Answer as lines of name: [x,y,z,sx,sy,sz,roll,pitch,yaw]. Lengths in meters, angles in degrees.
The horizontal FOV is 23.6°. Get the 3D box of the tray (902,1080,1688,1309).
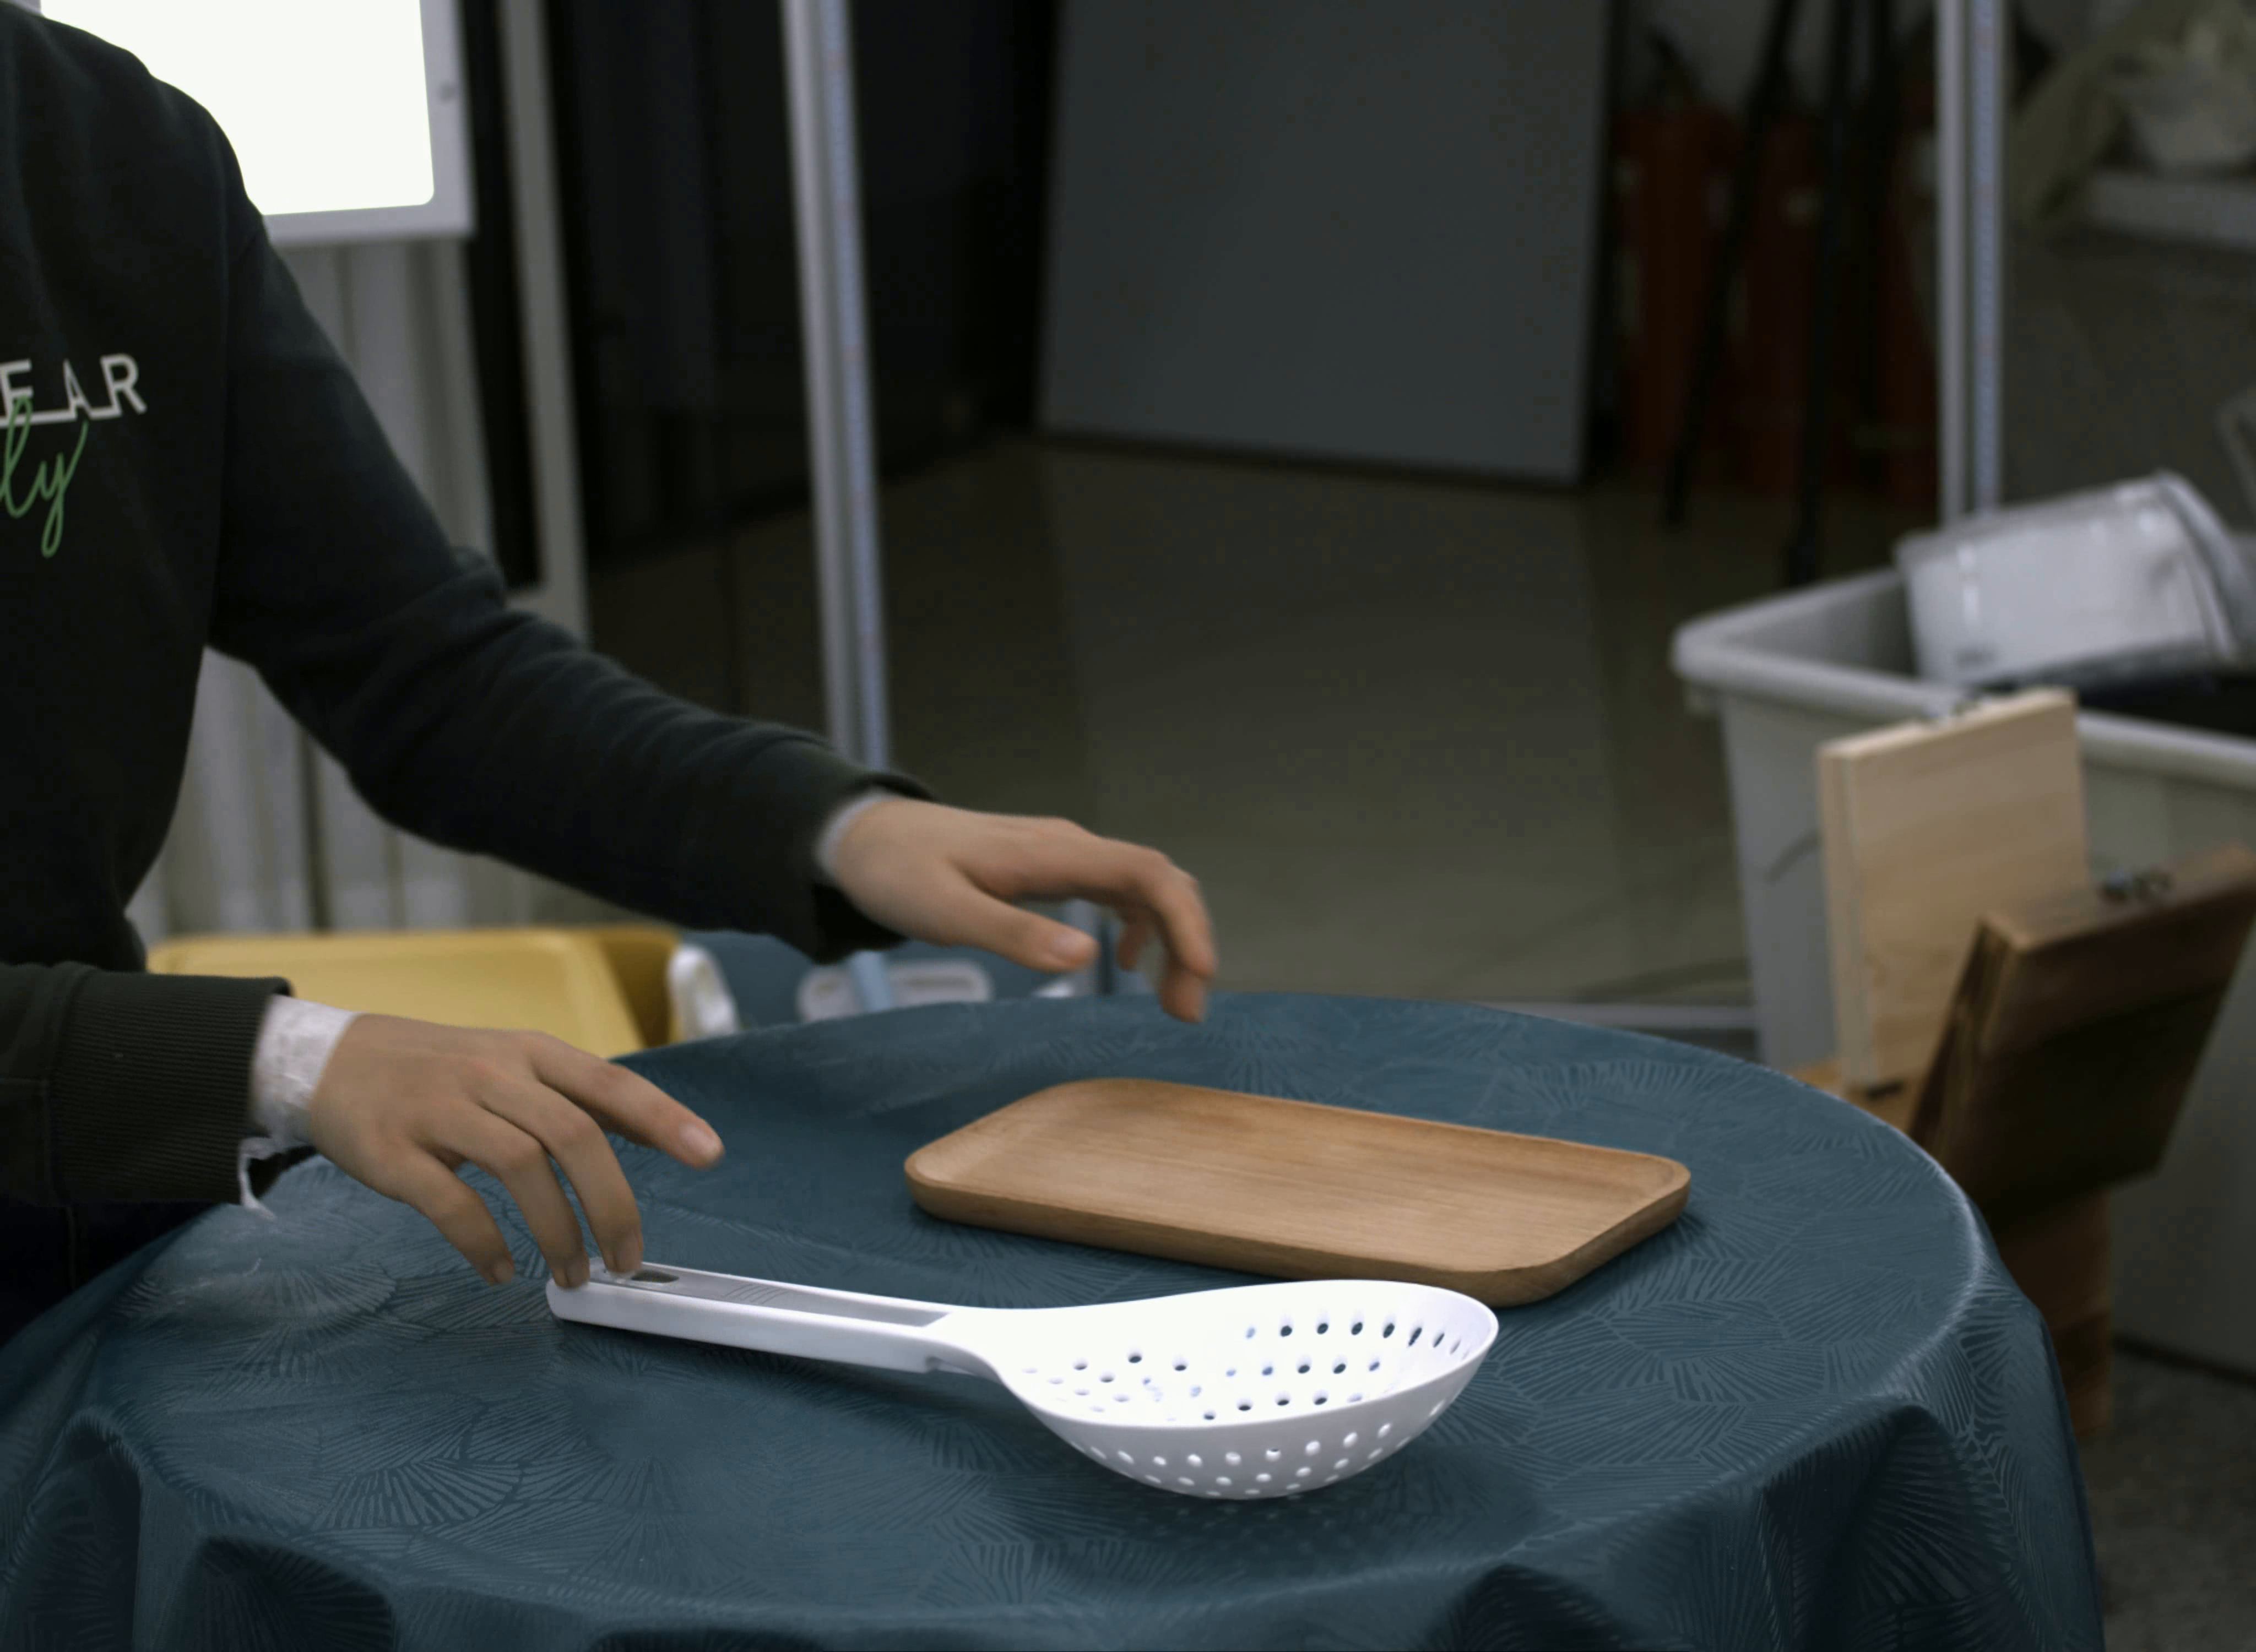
tray: [0.052,0.117,1.738,0.252,0.023,0.128,5,15,36]

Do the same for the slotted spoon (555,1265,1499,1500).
slotted spoon: [-0.043,0.150,1.571,0.353,0.046,0.133,7,17,42]
